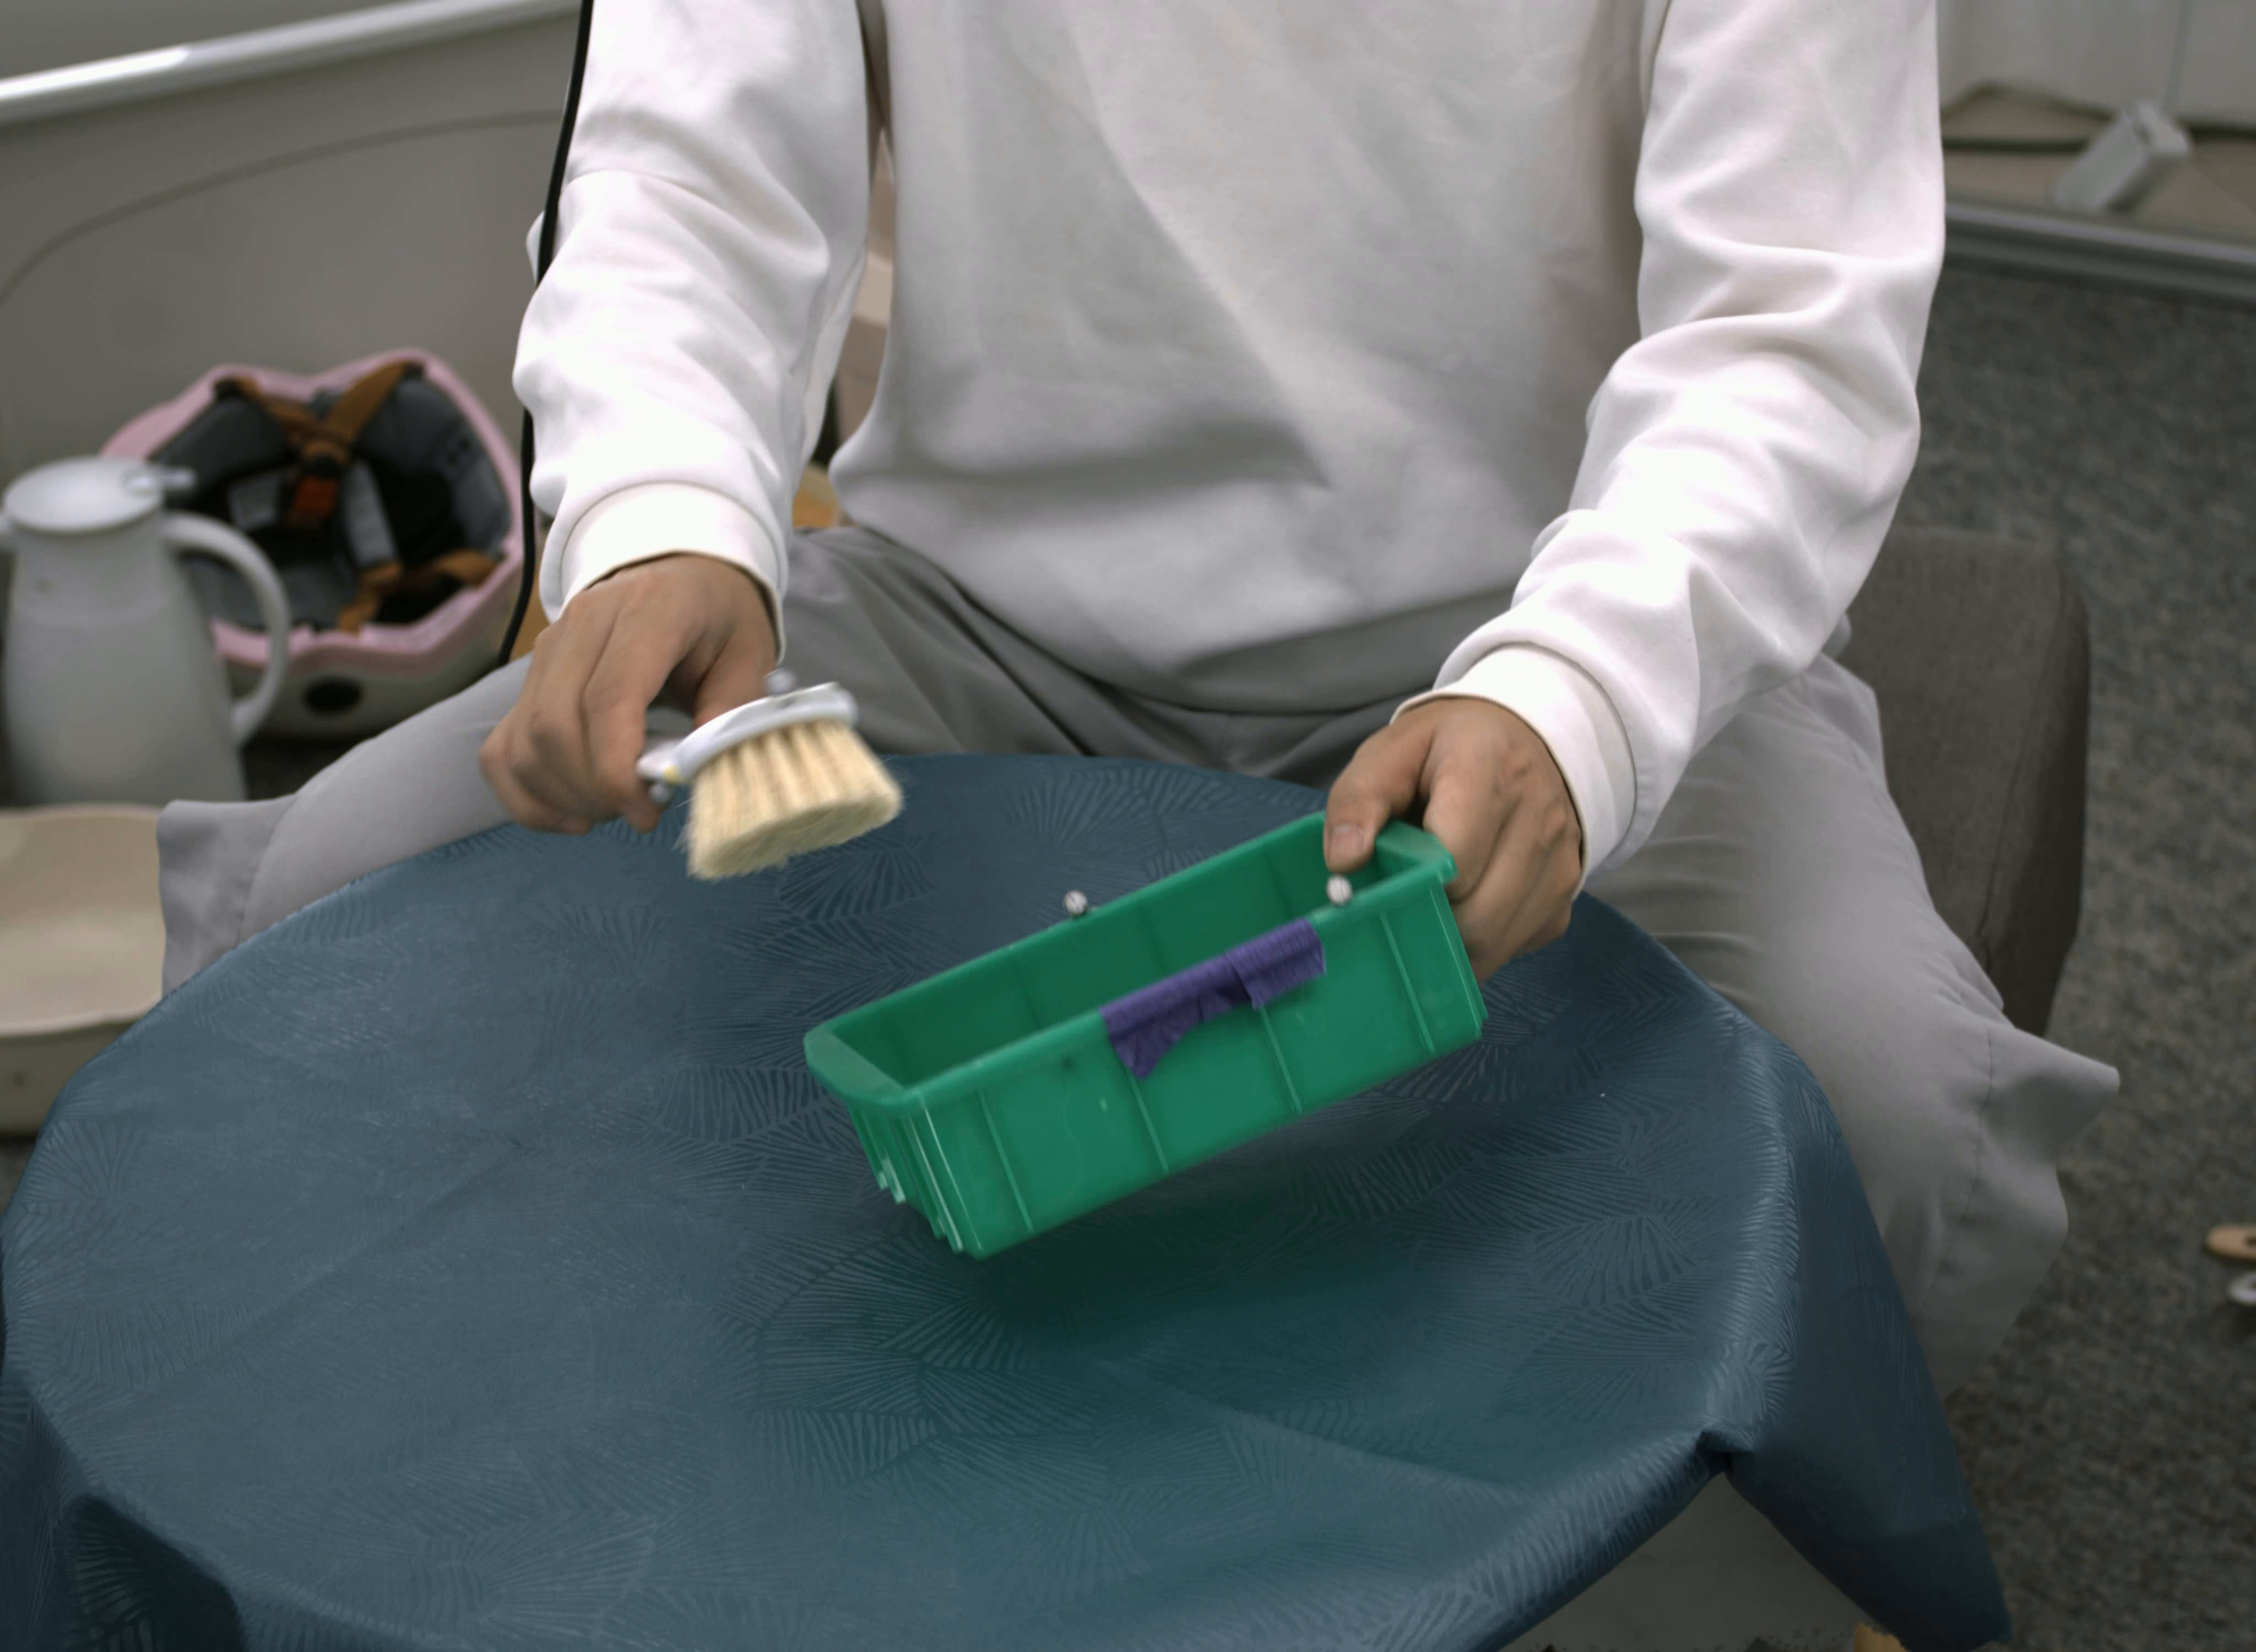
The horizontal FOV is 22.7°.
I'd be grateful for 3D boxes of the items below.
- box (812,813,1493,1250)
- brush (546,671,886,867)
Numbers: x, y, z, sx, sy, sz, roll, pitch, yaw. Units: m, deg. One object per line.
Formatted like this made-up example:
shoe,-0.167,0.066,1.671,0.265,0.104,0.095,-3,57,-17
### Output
box,0.011,0.066,1.818,0.211,0.065,0.138,-21,13,-14
brush,-0.146,-0.007,1.873,0.068,0.056,0.264,0,-6,-21
